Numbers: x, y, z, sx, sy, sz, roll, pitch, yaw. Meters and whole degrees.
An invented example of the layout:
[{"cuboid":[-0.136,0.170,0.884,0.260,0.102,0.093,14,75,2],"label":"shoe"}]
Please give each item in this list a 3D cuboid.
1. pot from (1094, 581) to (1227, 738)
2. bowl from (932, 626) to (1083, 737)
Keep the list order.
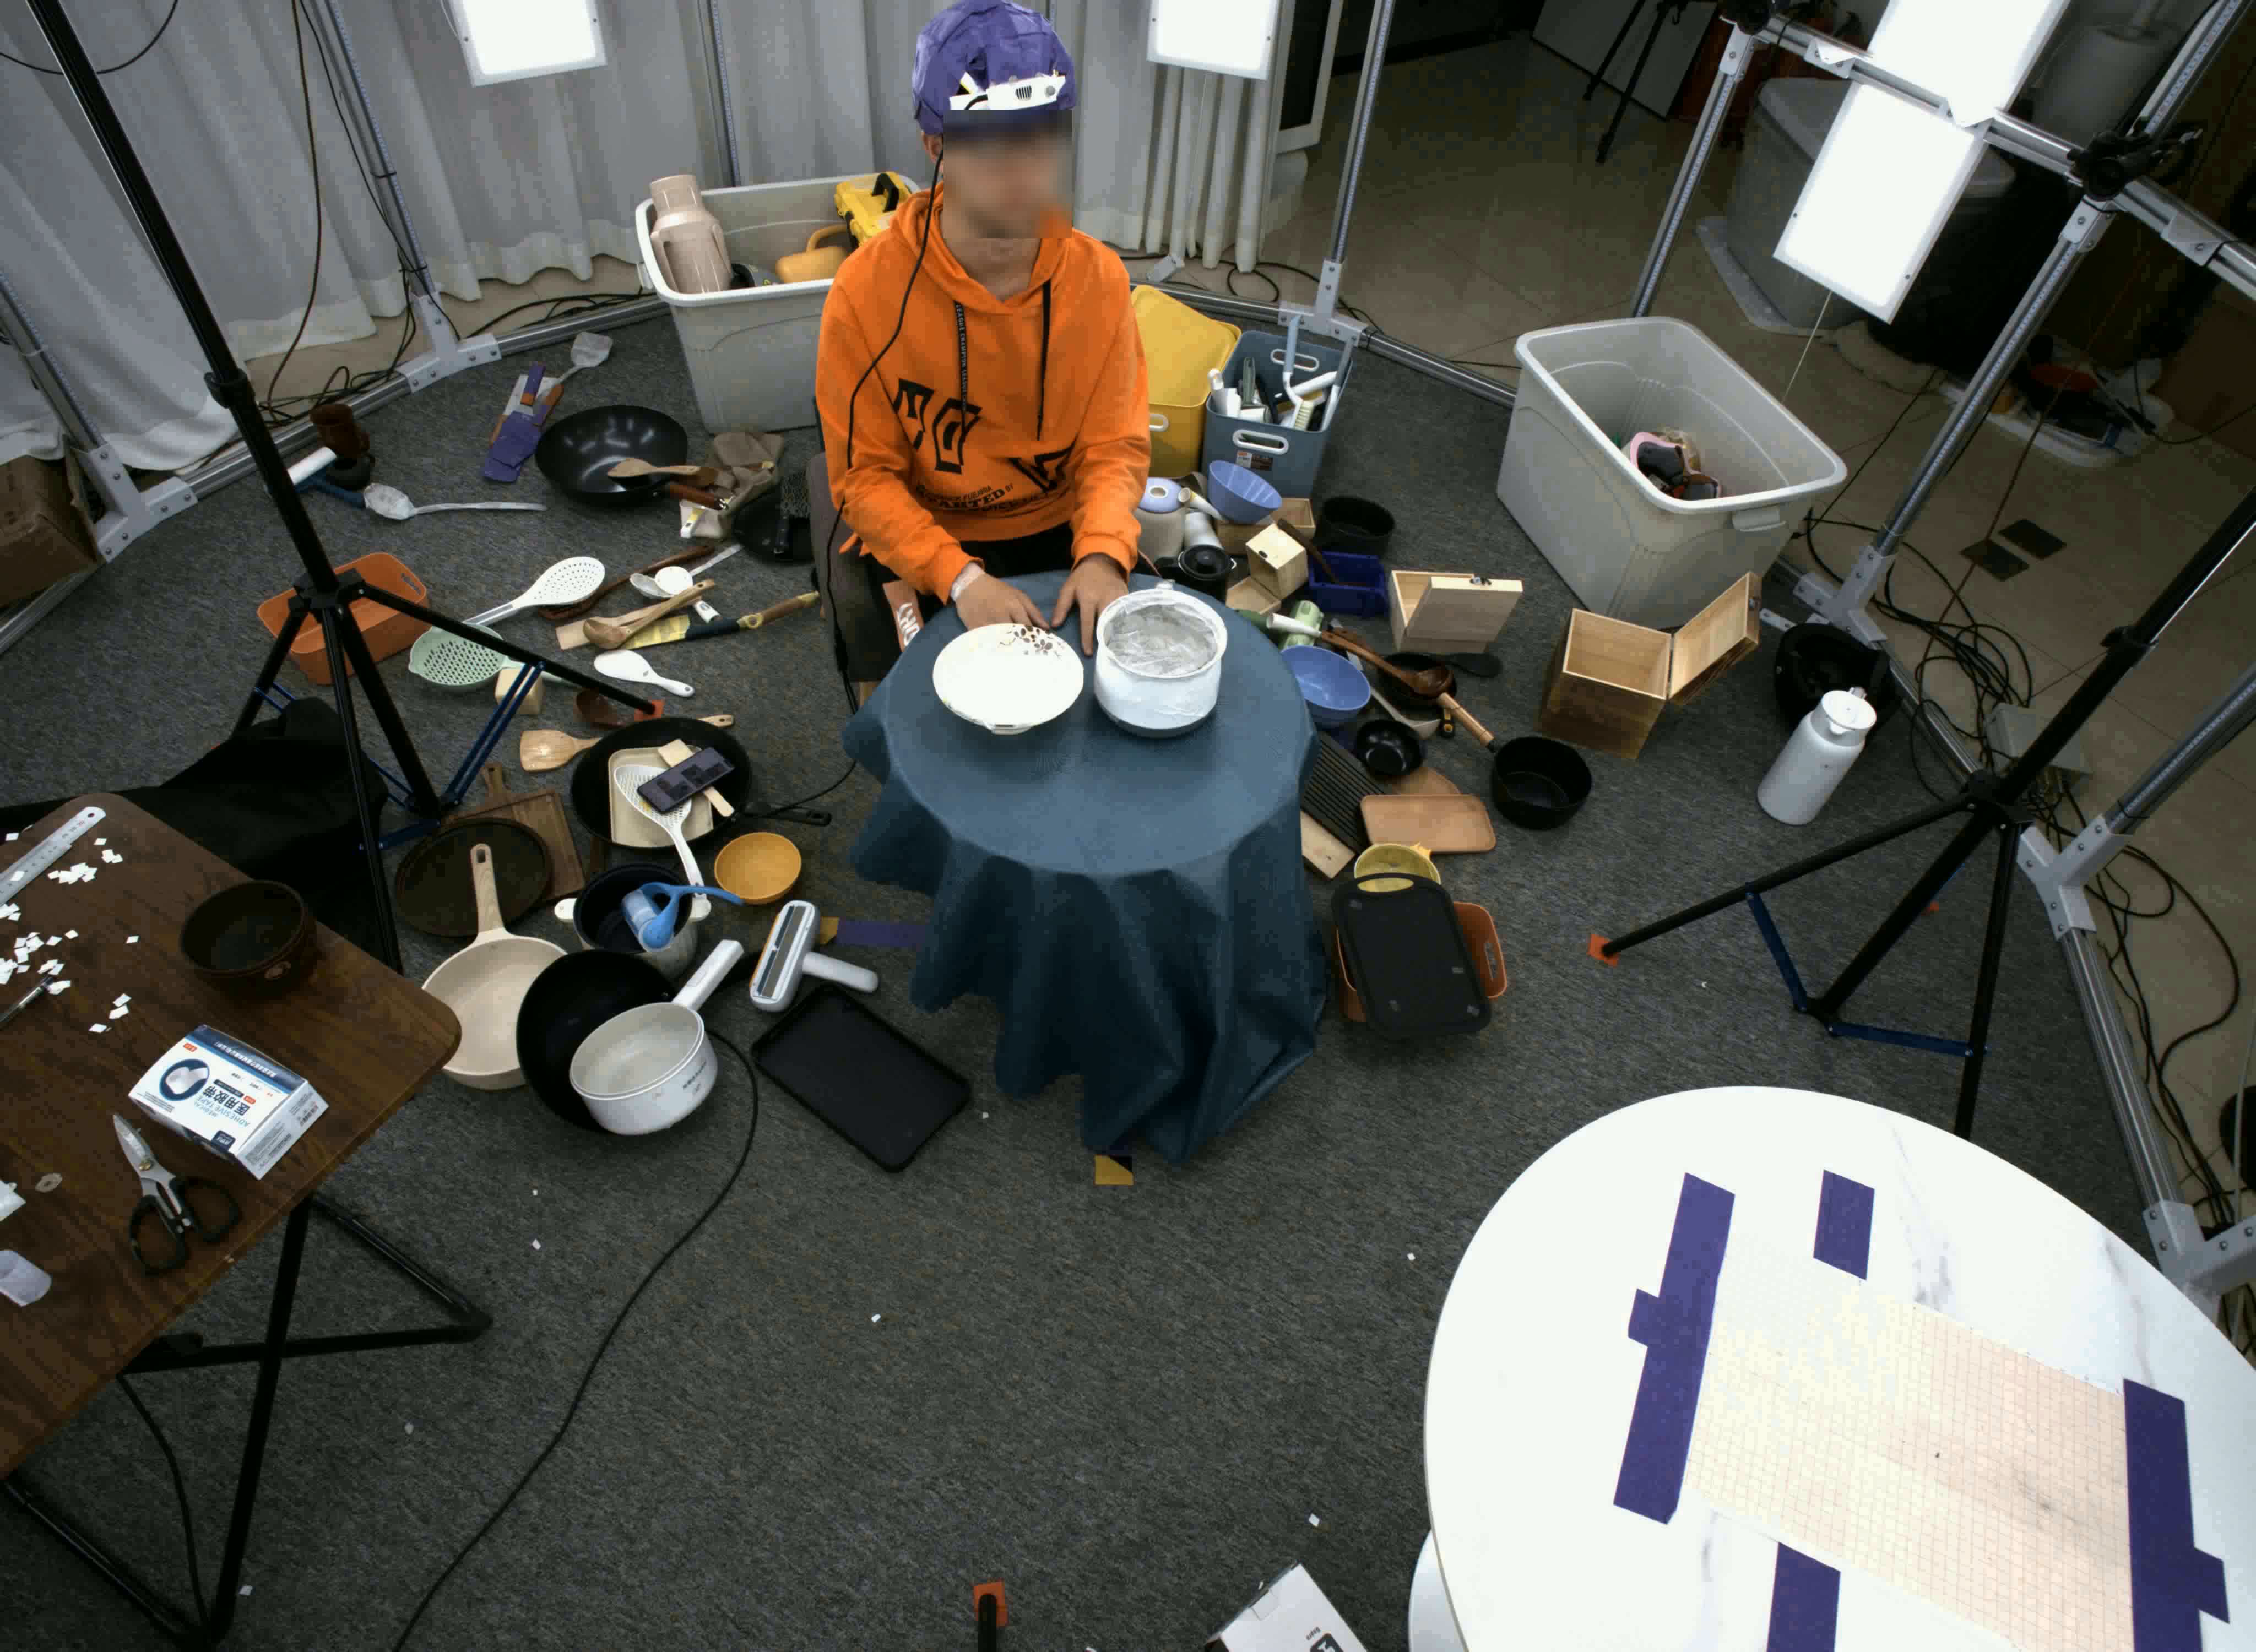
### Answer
[{"cuboid":[0.043,-0.242,1.793,0.178,0.133,0.239,4,49,-1],"label":"pot"},{"cuboid":[-0.163,-0.181,1.766,0.204,0.076,0.209,1,47,-2],"label":"bowl"}]
